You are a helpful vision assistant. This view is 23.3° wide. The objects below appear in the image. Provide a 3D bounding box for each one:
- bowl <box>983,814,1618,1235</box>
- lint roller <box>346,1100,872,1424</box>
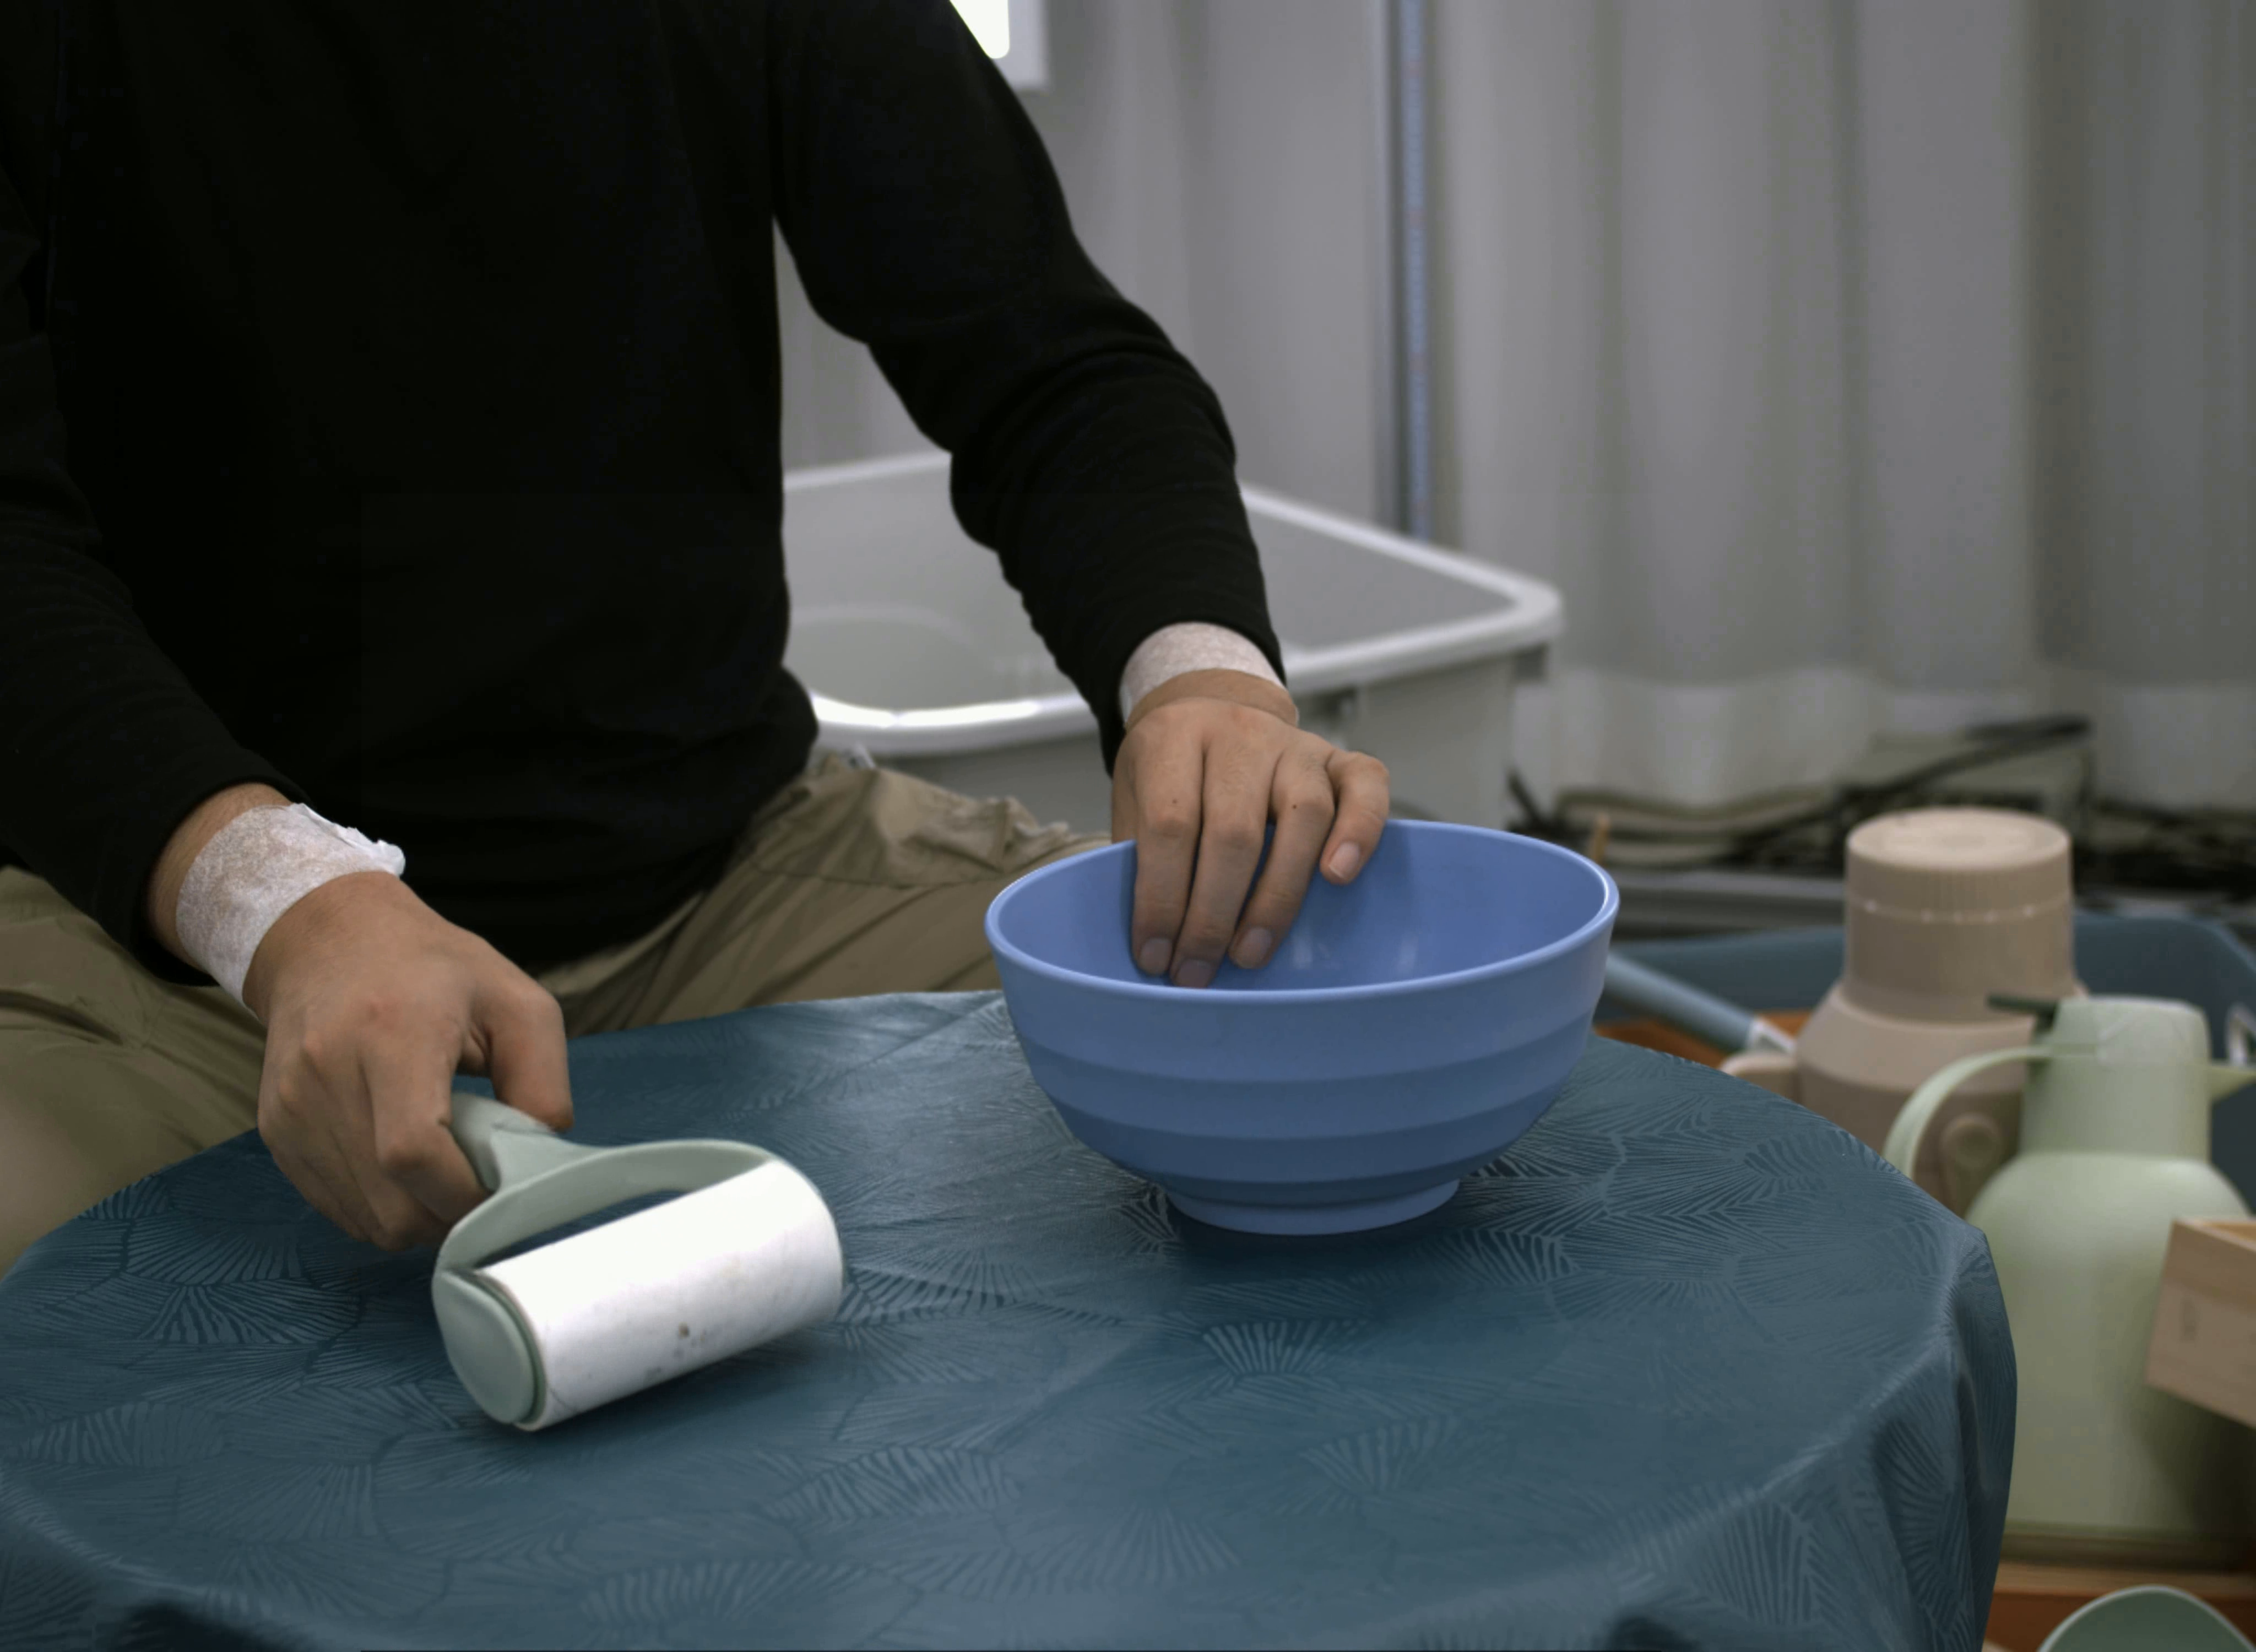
[{"bbox_3d":[0.056,0.067,1.696,0.196,0.095,0.198,-4,15,1],"label":"bowl"},{"bbox_3d":[-0.173,0.110,1.617,0.116,0.048,0.199,-20,30,-33],"label":"lint roller"}]
